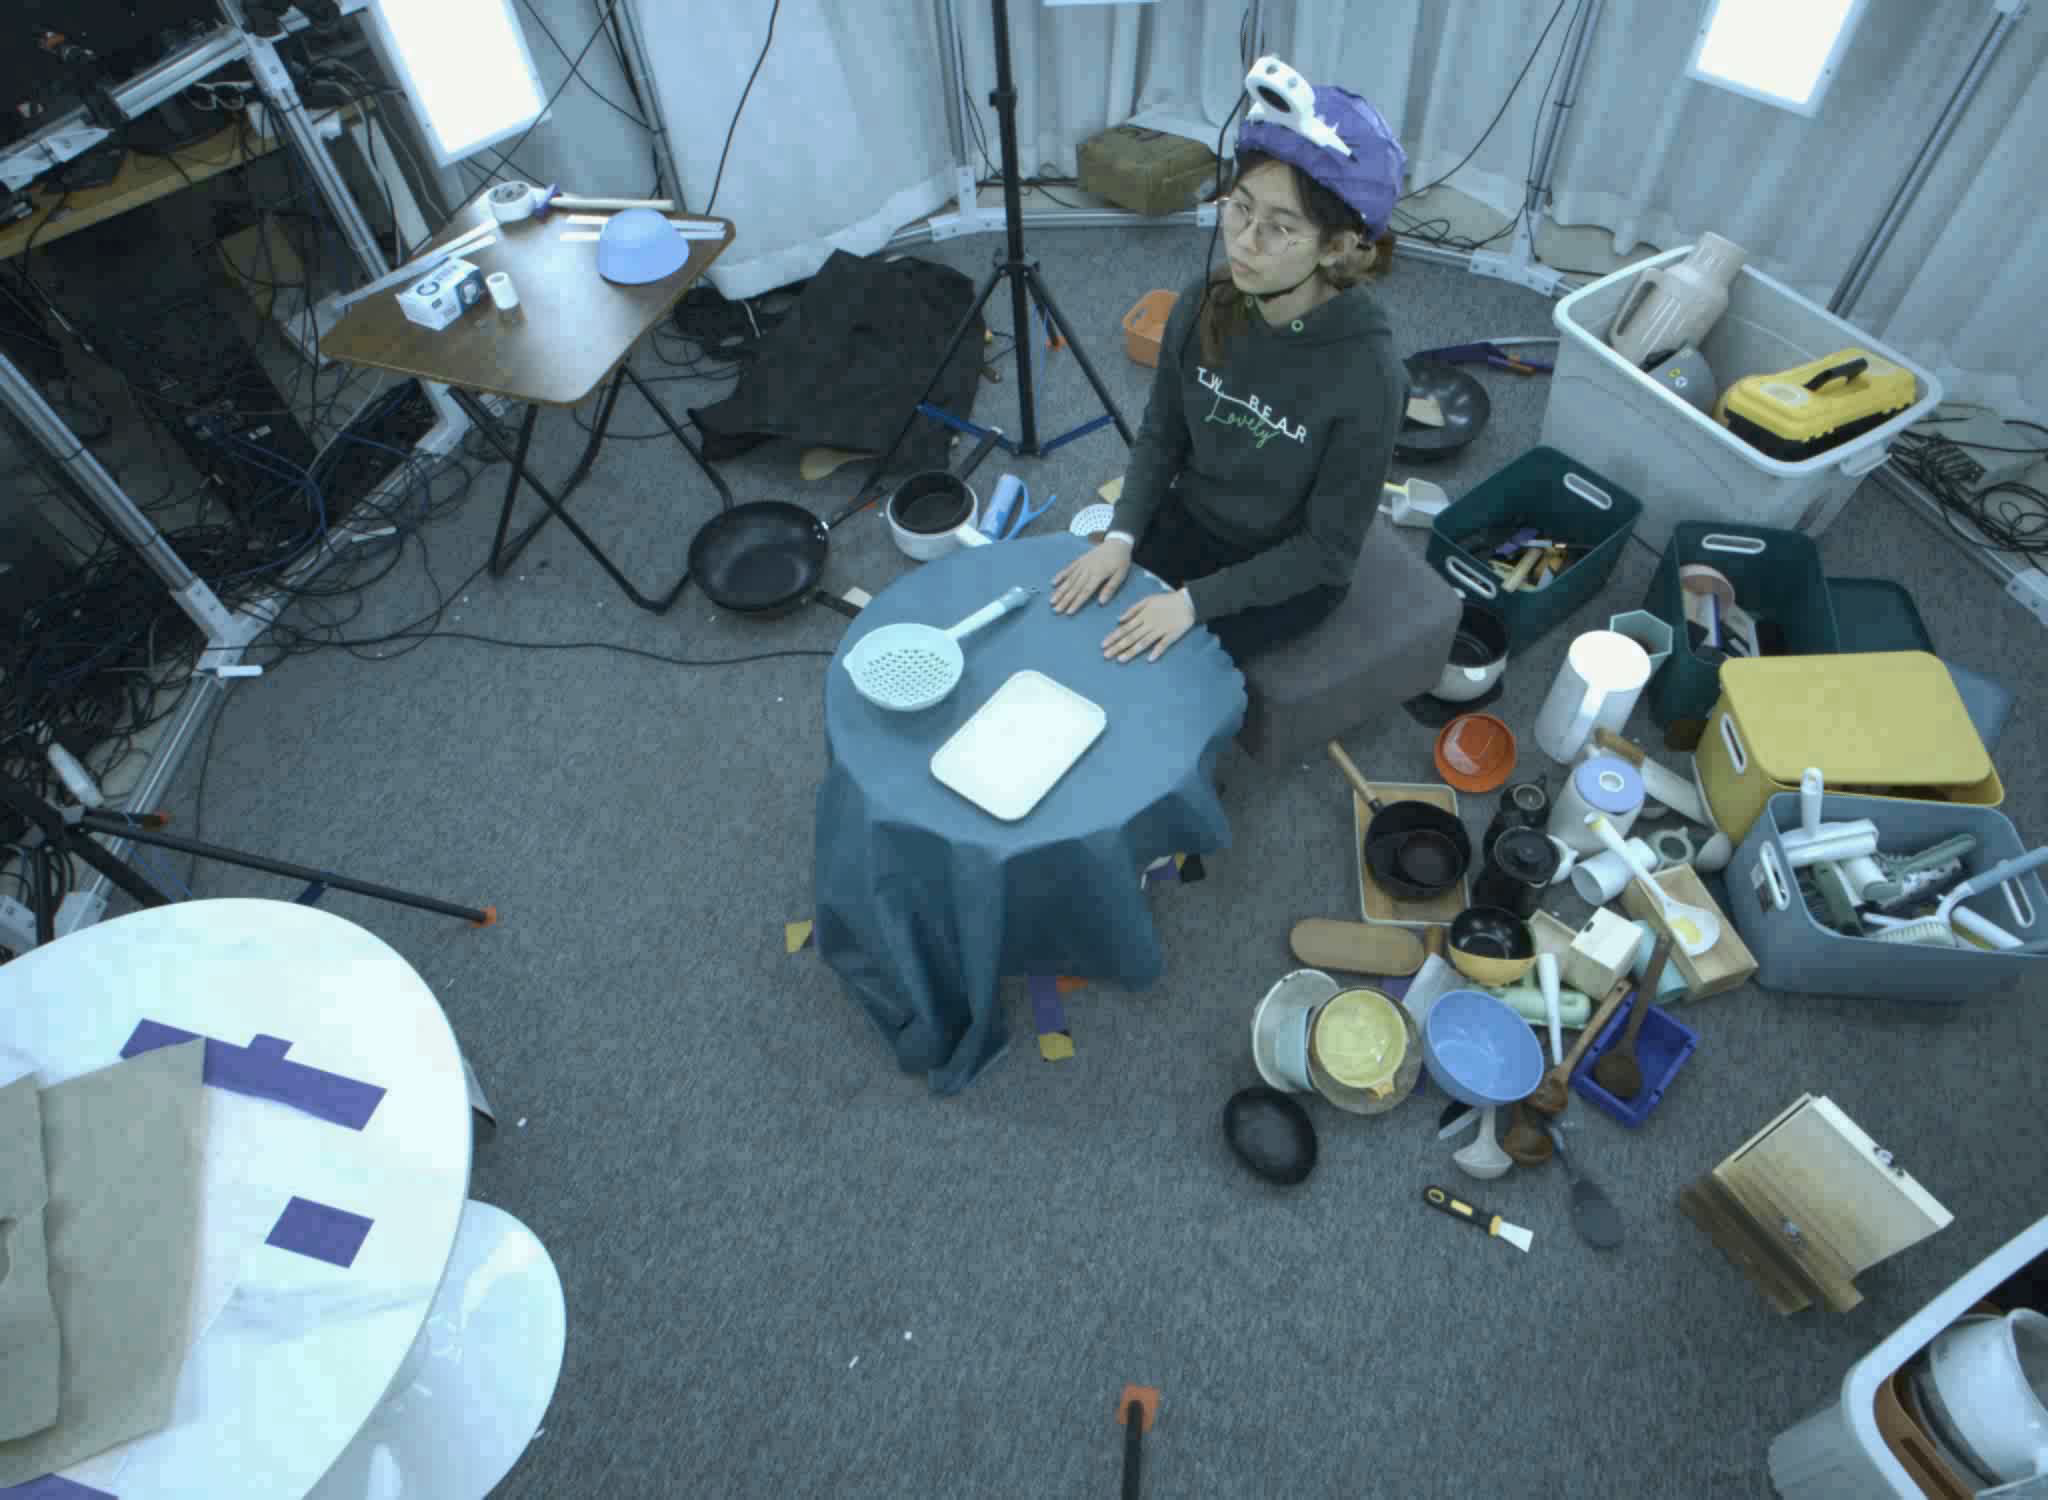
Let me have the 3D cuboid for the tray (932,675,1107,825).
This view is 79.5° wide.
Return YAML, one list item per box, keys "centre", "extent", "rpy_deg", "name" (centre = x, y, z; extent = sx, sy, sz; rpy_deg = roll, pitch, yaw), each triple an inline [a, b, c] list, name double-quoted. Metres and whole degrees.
- centre: [-0.005, -0.002, 1.789]
  extent: [0.168, 0.017, 0.241]
  rpy_deg: [31, 61, 21]
  name: "tray"

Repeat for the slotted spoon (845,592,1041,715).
- centre: [-0.105, -0.166, 1.880]
  extent: [0.166, 0.076, 0.361]
  rpy_deg: [38, 63, 24]
  name: "slotted spoon"
